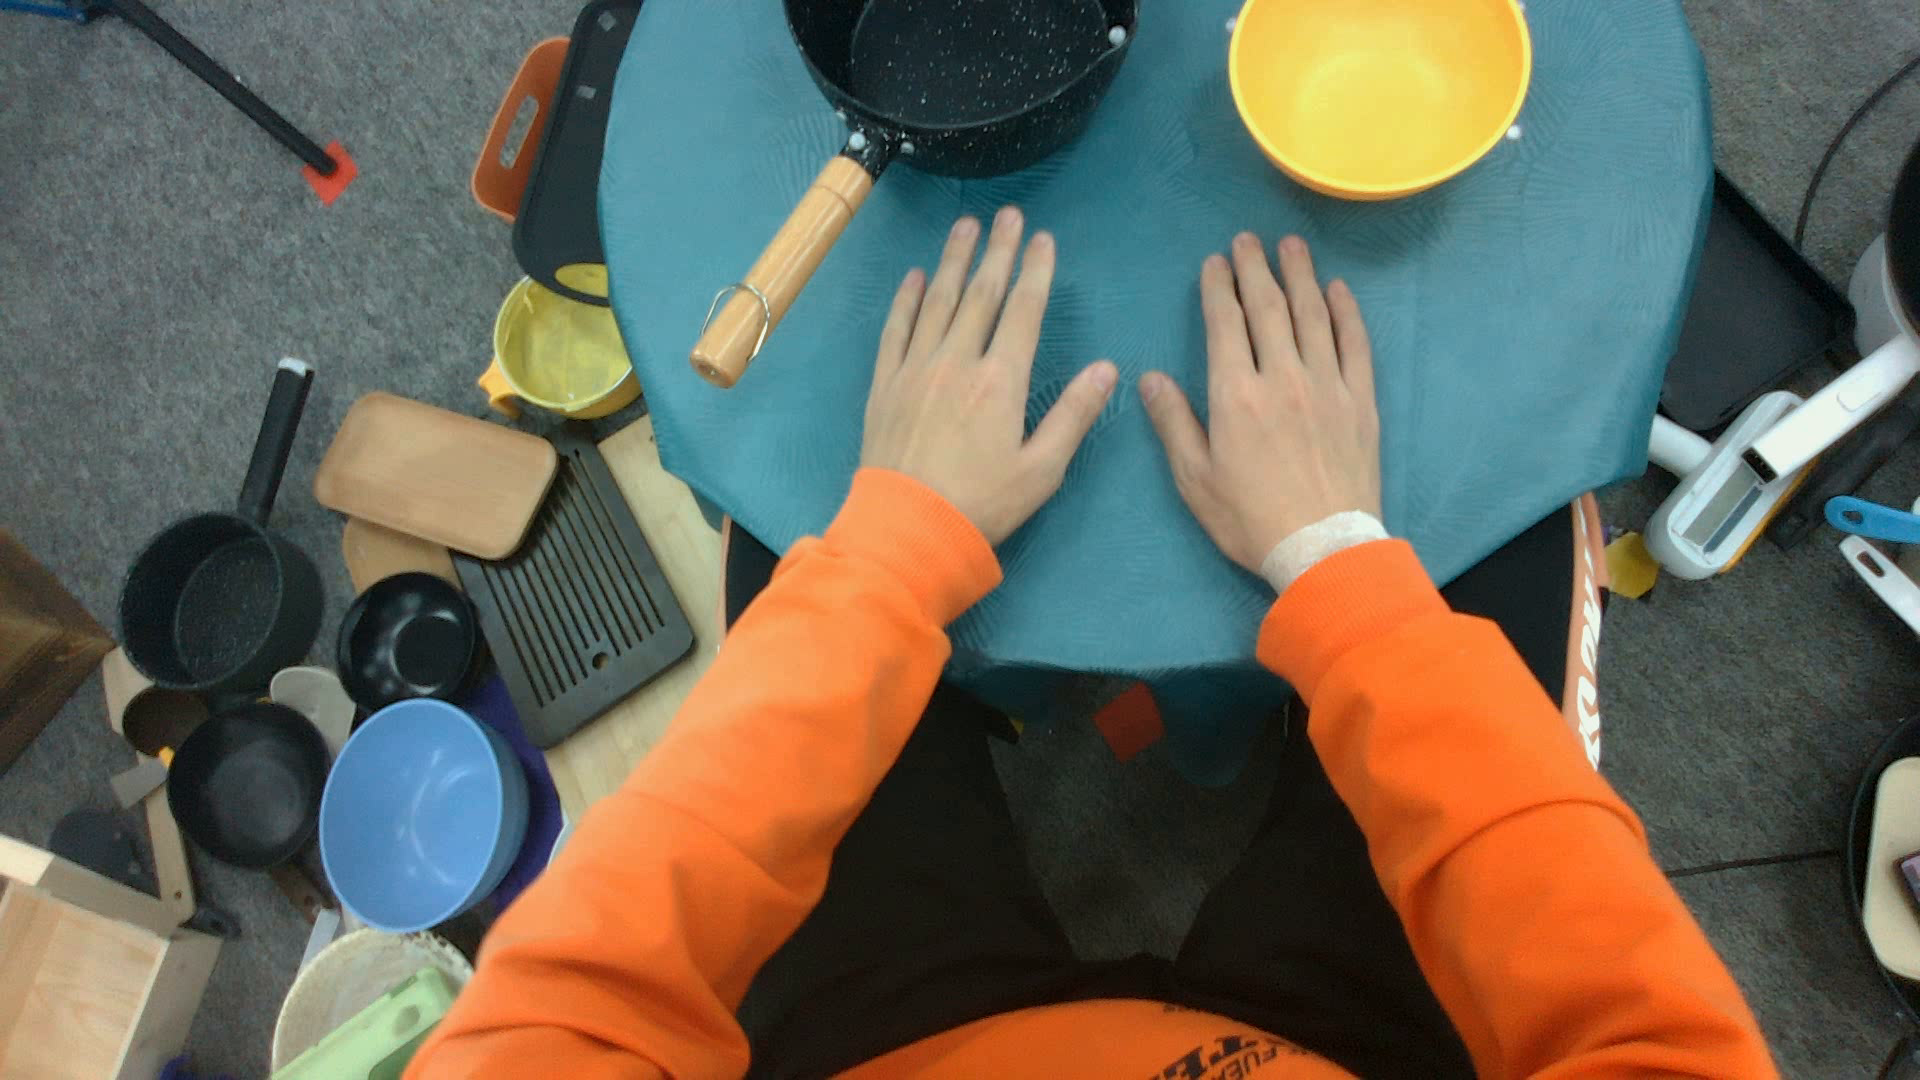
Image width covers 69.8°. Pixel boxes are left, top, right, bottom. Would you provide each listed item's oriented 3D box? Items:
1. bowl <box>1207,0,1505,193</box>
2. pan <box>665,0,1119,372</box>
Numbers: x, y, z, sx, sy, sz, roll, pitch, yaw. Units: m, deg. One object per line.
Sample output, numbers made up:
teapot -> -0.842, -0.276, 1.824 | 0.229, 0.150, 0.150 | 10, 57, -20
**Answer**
bowl -> 0.201, -0.236, 0.715 | 0.145, 0.060, 0.145 | -2, 76, 8
pan -> -0.043, -0.220, 0.717 | 0.207, 0.108, 0.343 | 25, 80, 11
